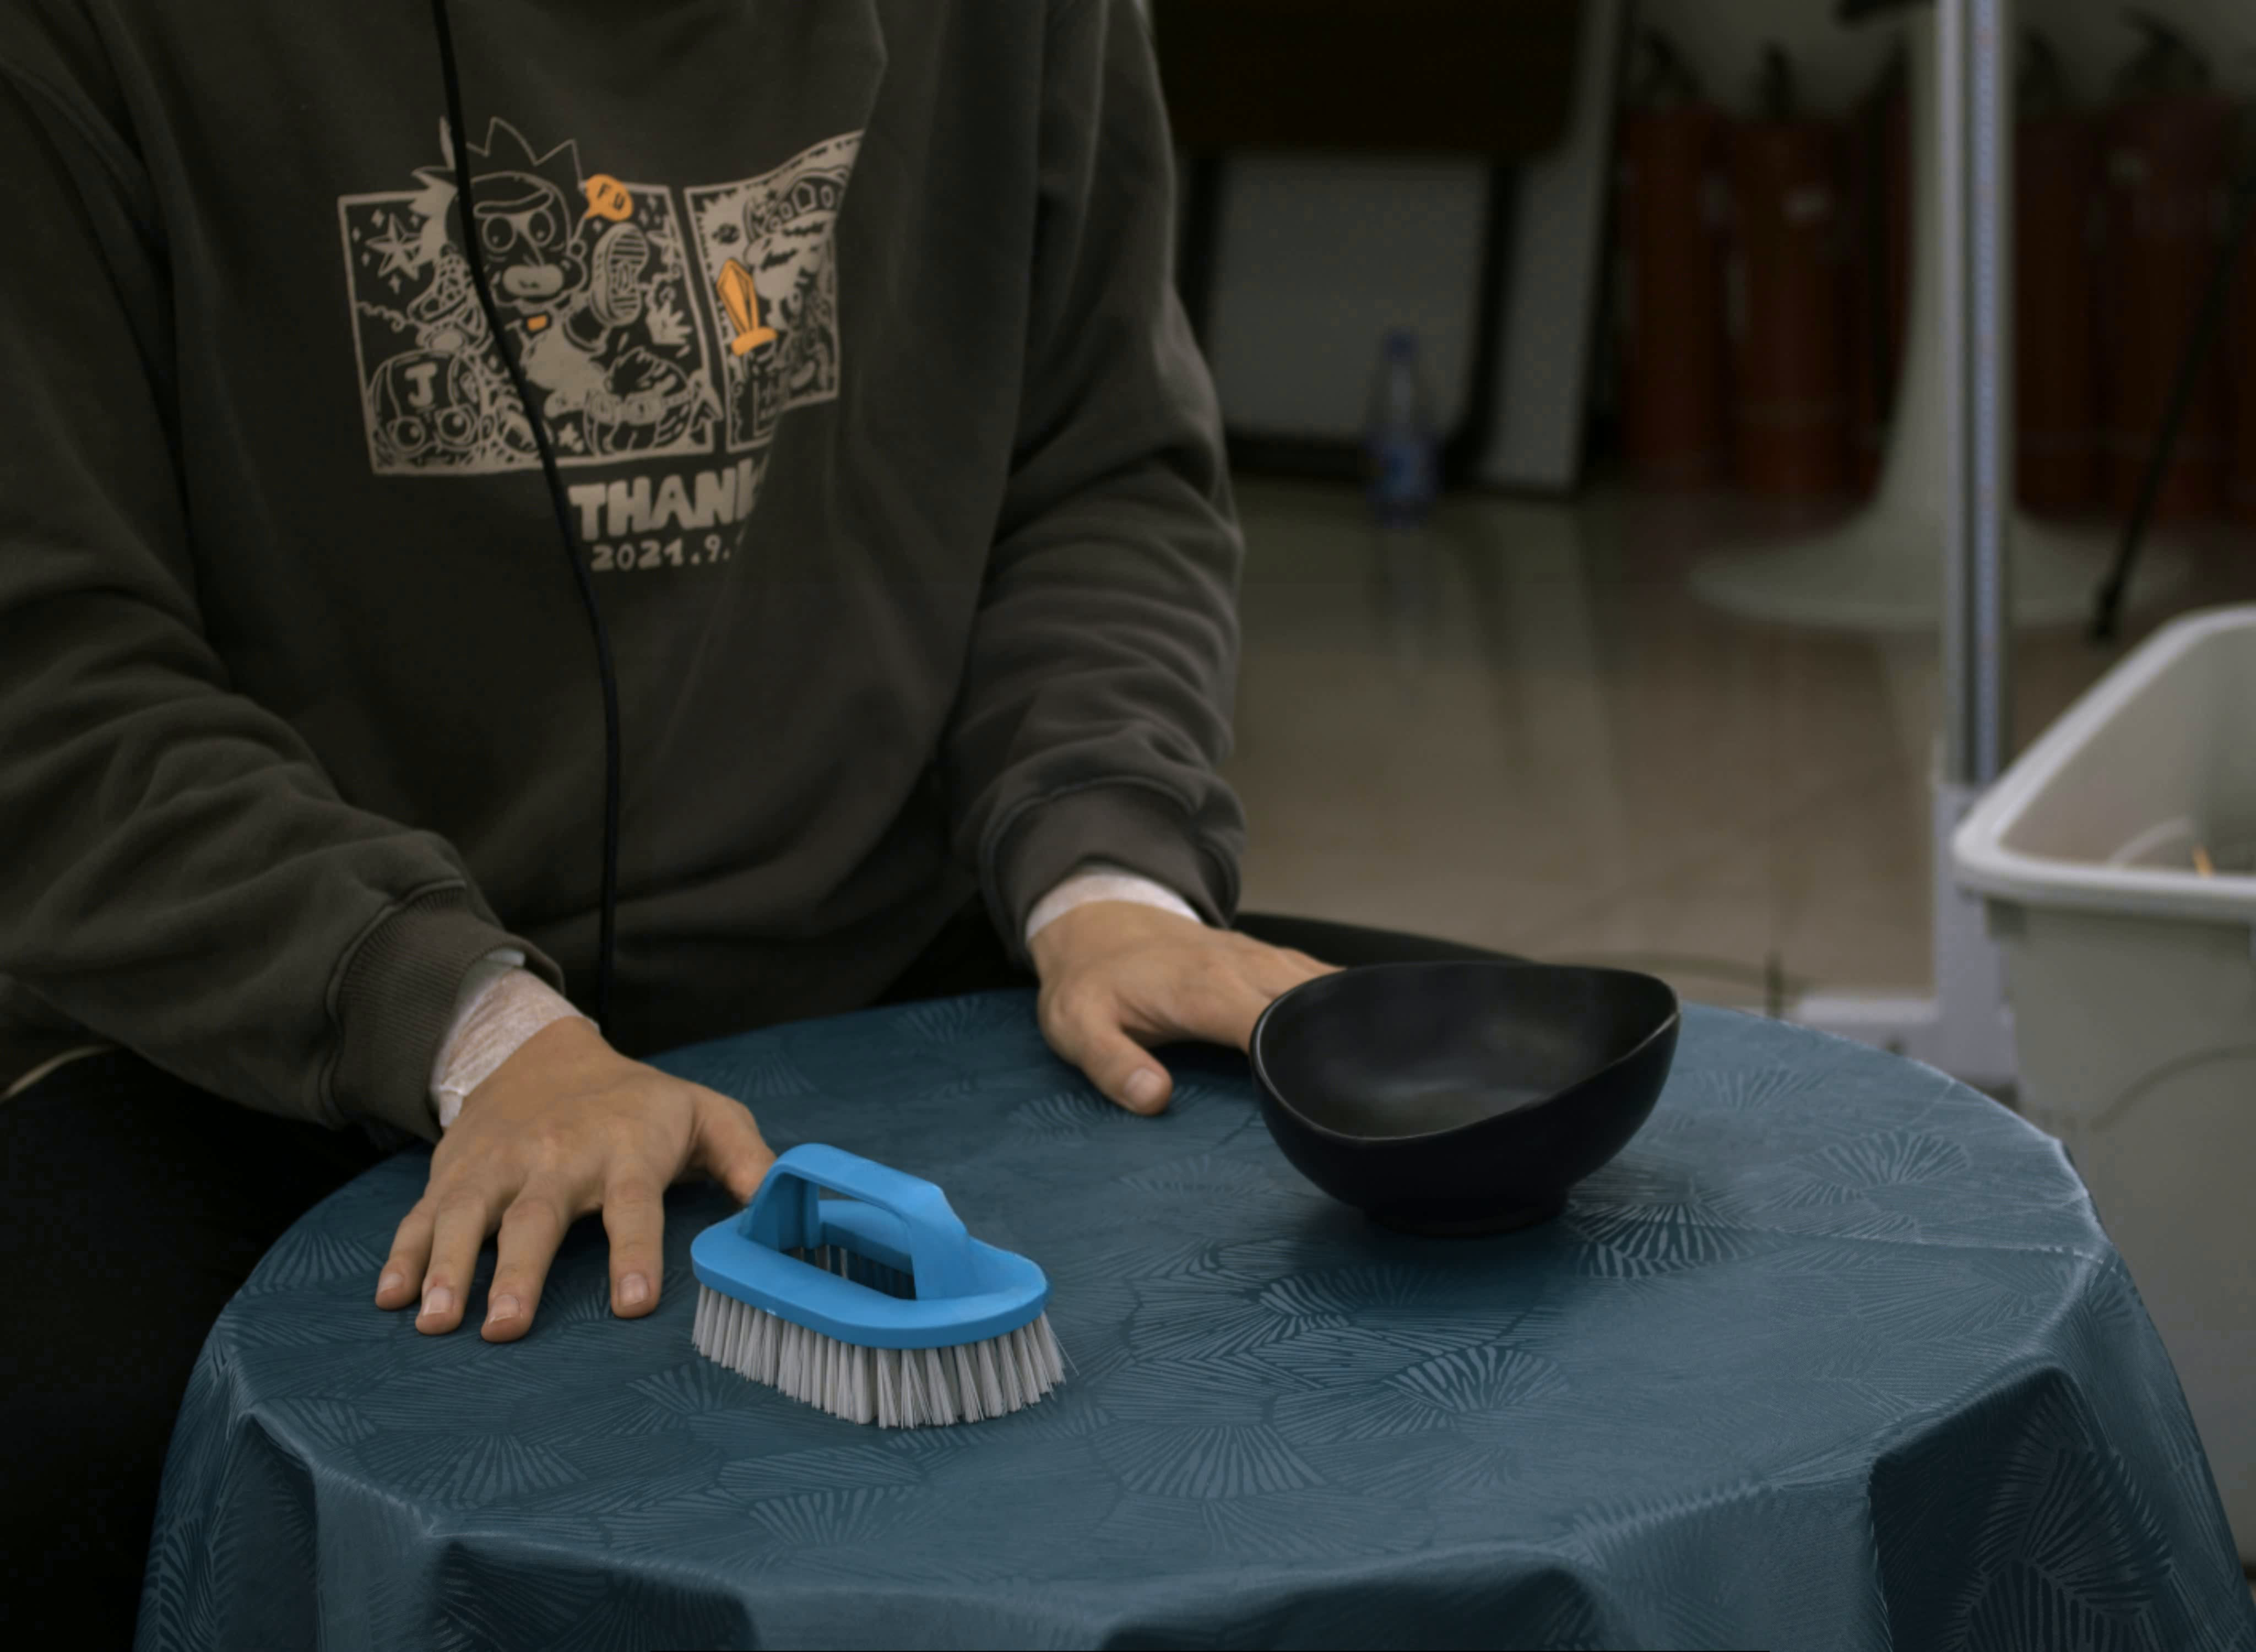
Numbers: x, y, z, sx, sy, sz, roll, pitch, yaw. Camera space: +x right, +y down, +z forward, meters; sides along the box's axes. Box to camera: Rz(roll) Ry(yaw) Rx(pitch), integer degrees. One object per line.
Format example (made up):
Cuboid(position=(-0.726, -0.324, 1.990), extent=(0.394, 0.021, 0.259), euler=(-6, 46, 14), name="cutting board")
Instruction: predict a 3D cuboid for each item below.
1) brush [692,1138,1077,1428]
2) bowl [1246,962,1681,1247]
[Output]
Cuboid(position=(-0.077, 0.130, 1.623), extent=(0.082, 0.064, 0.143), euler=(-17, 17, -31), name="brush")
Cuboid(position=(0.109, 0.093, 1.727), extent=(0.137, 0.067, 0.168), euler=(1, 16, 23), name="bowl")
